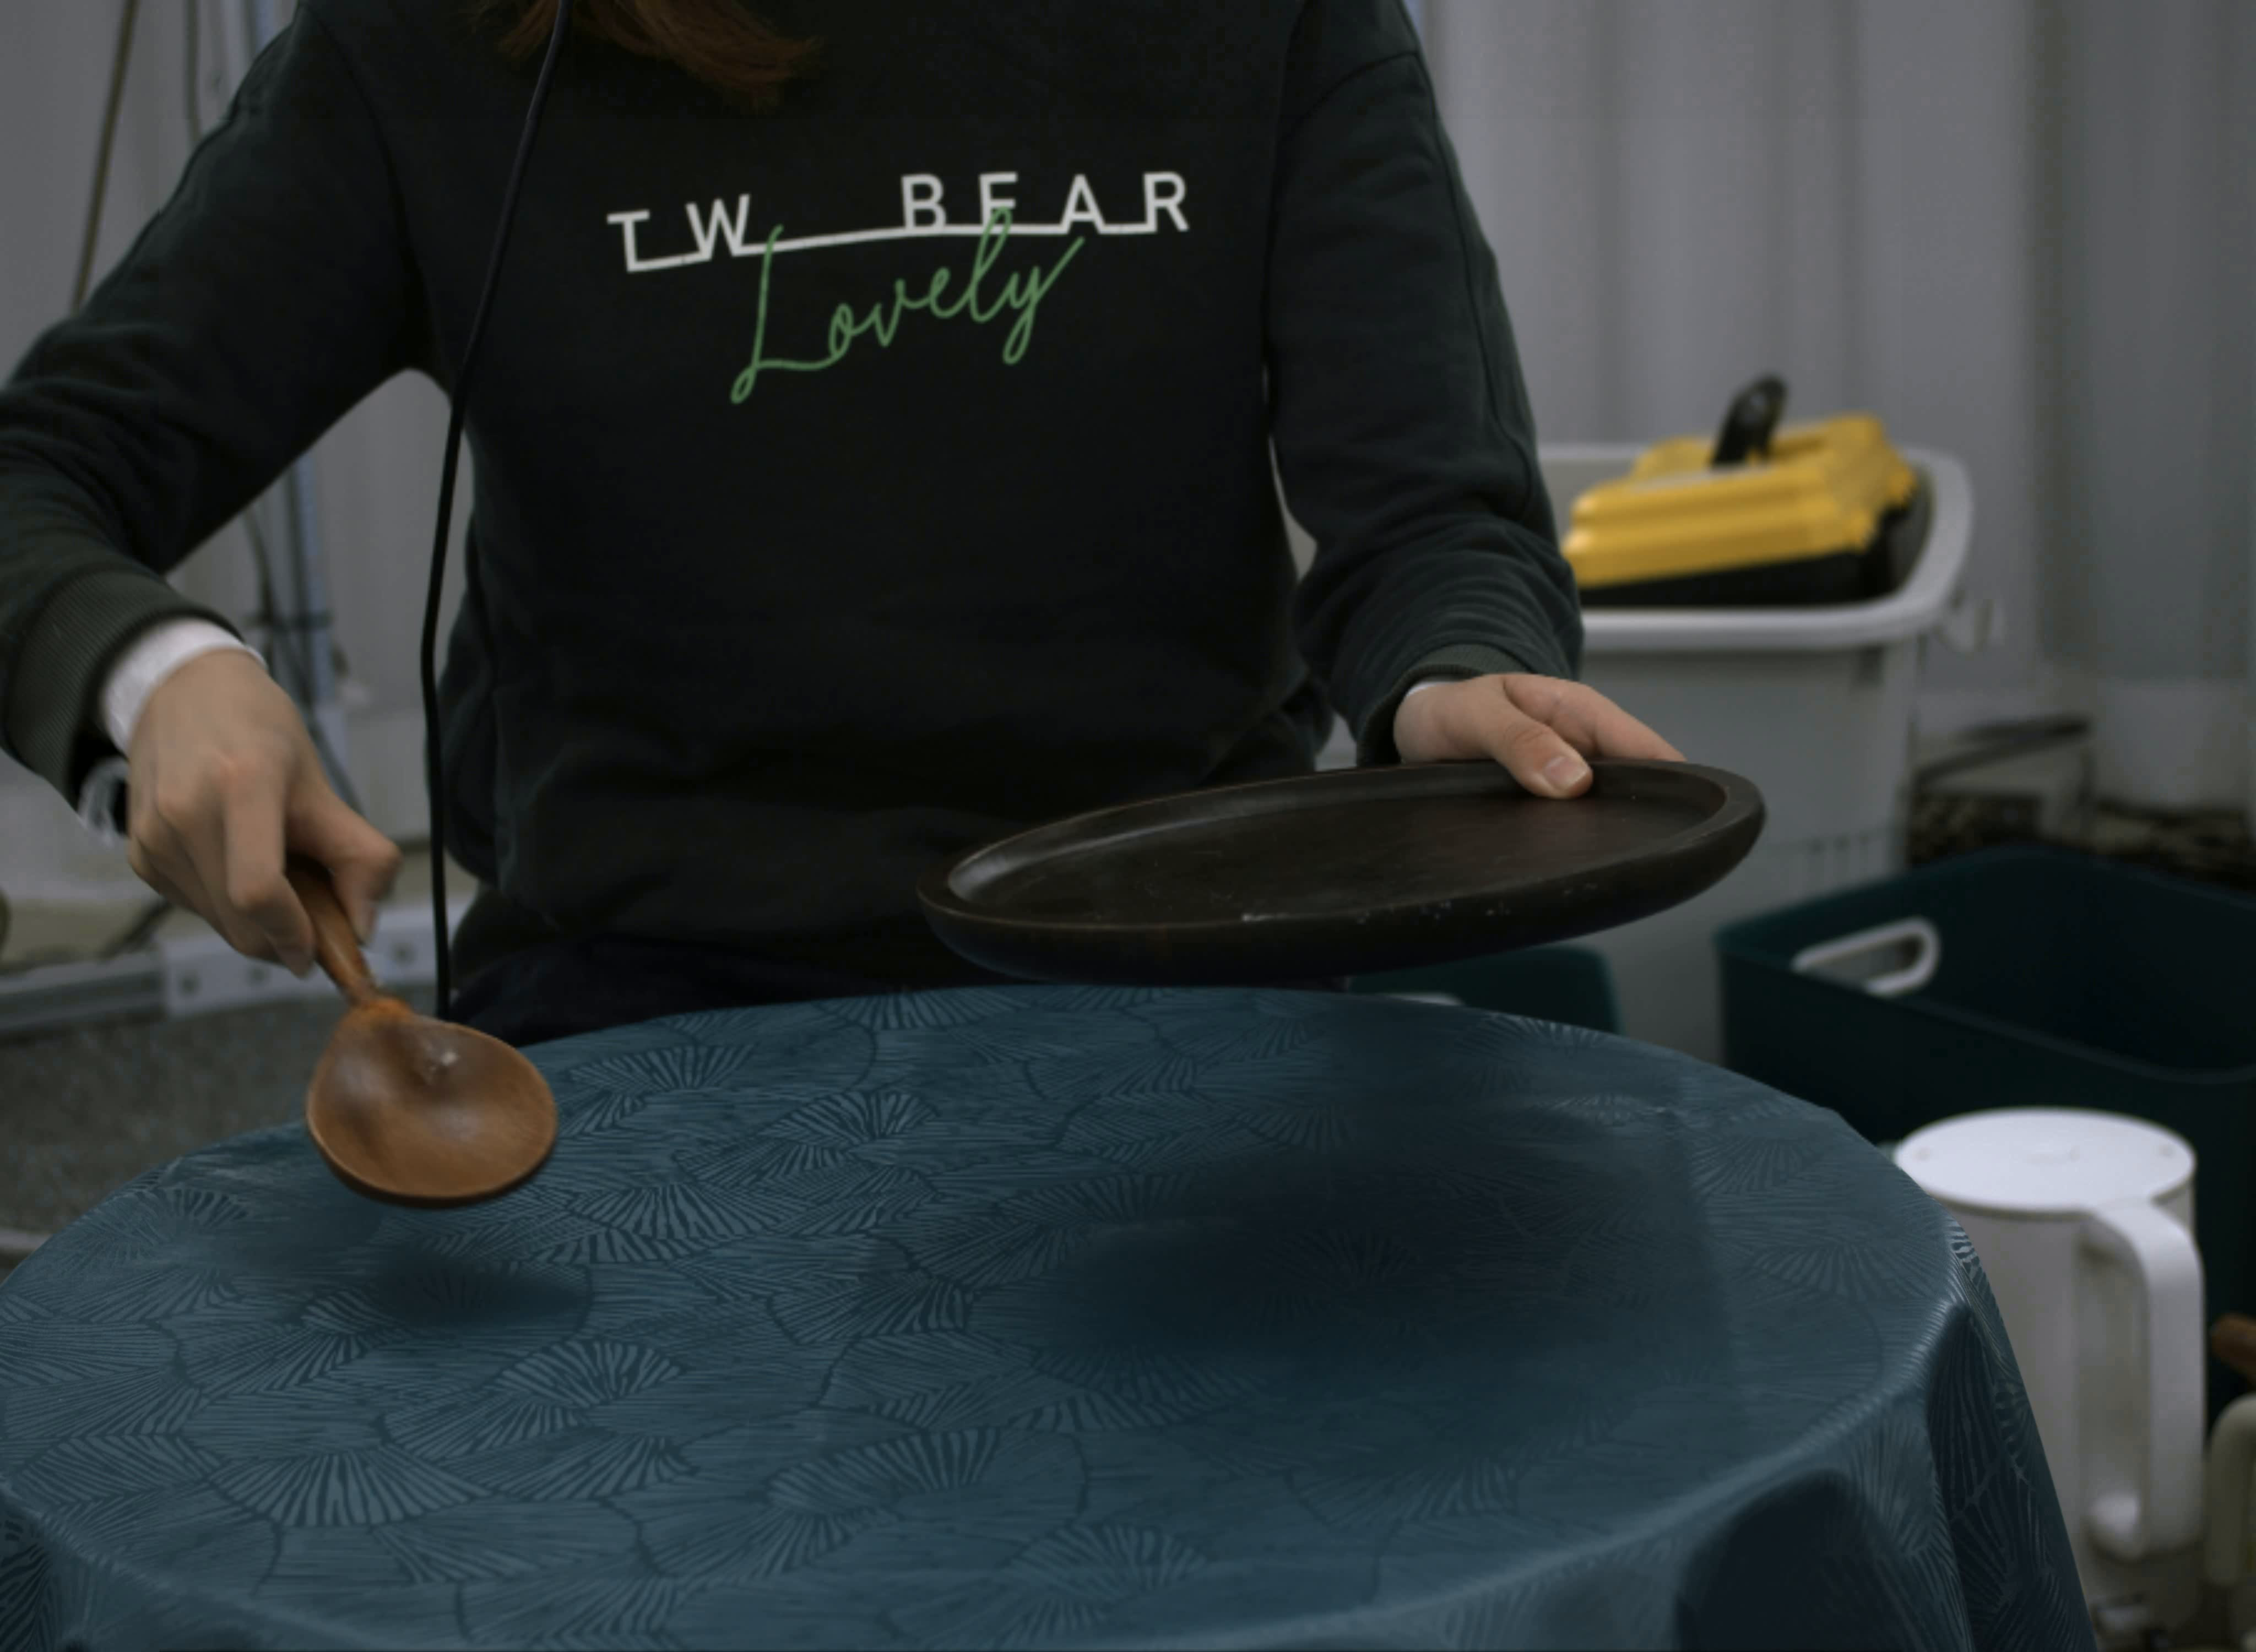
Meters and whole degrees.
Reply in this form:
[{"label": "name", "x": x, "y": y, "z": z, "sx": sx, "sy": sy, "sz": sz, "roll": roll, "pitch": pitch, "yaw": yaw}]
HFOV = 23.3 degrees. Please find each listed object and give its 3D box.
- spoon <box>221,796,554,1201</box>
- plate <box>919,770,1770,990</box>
[{"label": "spoon", "x": -0.239, "y": 0.053, "z": 1.701, "sx": 0.075, "sy": 0.017, "sz": 0.219, "roll": -13, "pitch": 38, "yaw": -22}, {"label": "plate", "x": 0.064, "y": 0.013, "z": 1.625, "sx": 0.254, "sy": 0.029, "sz": 0.256, "roll": -6, "pitch": 10, "yaw": 1}]
